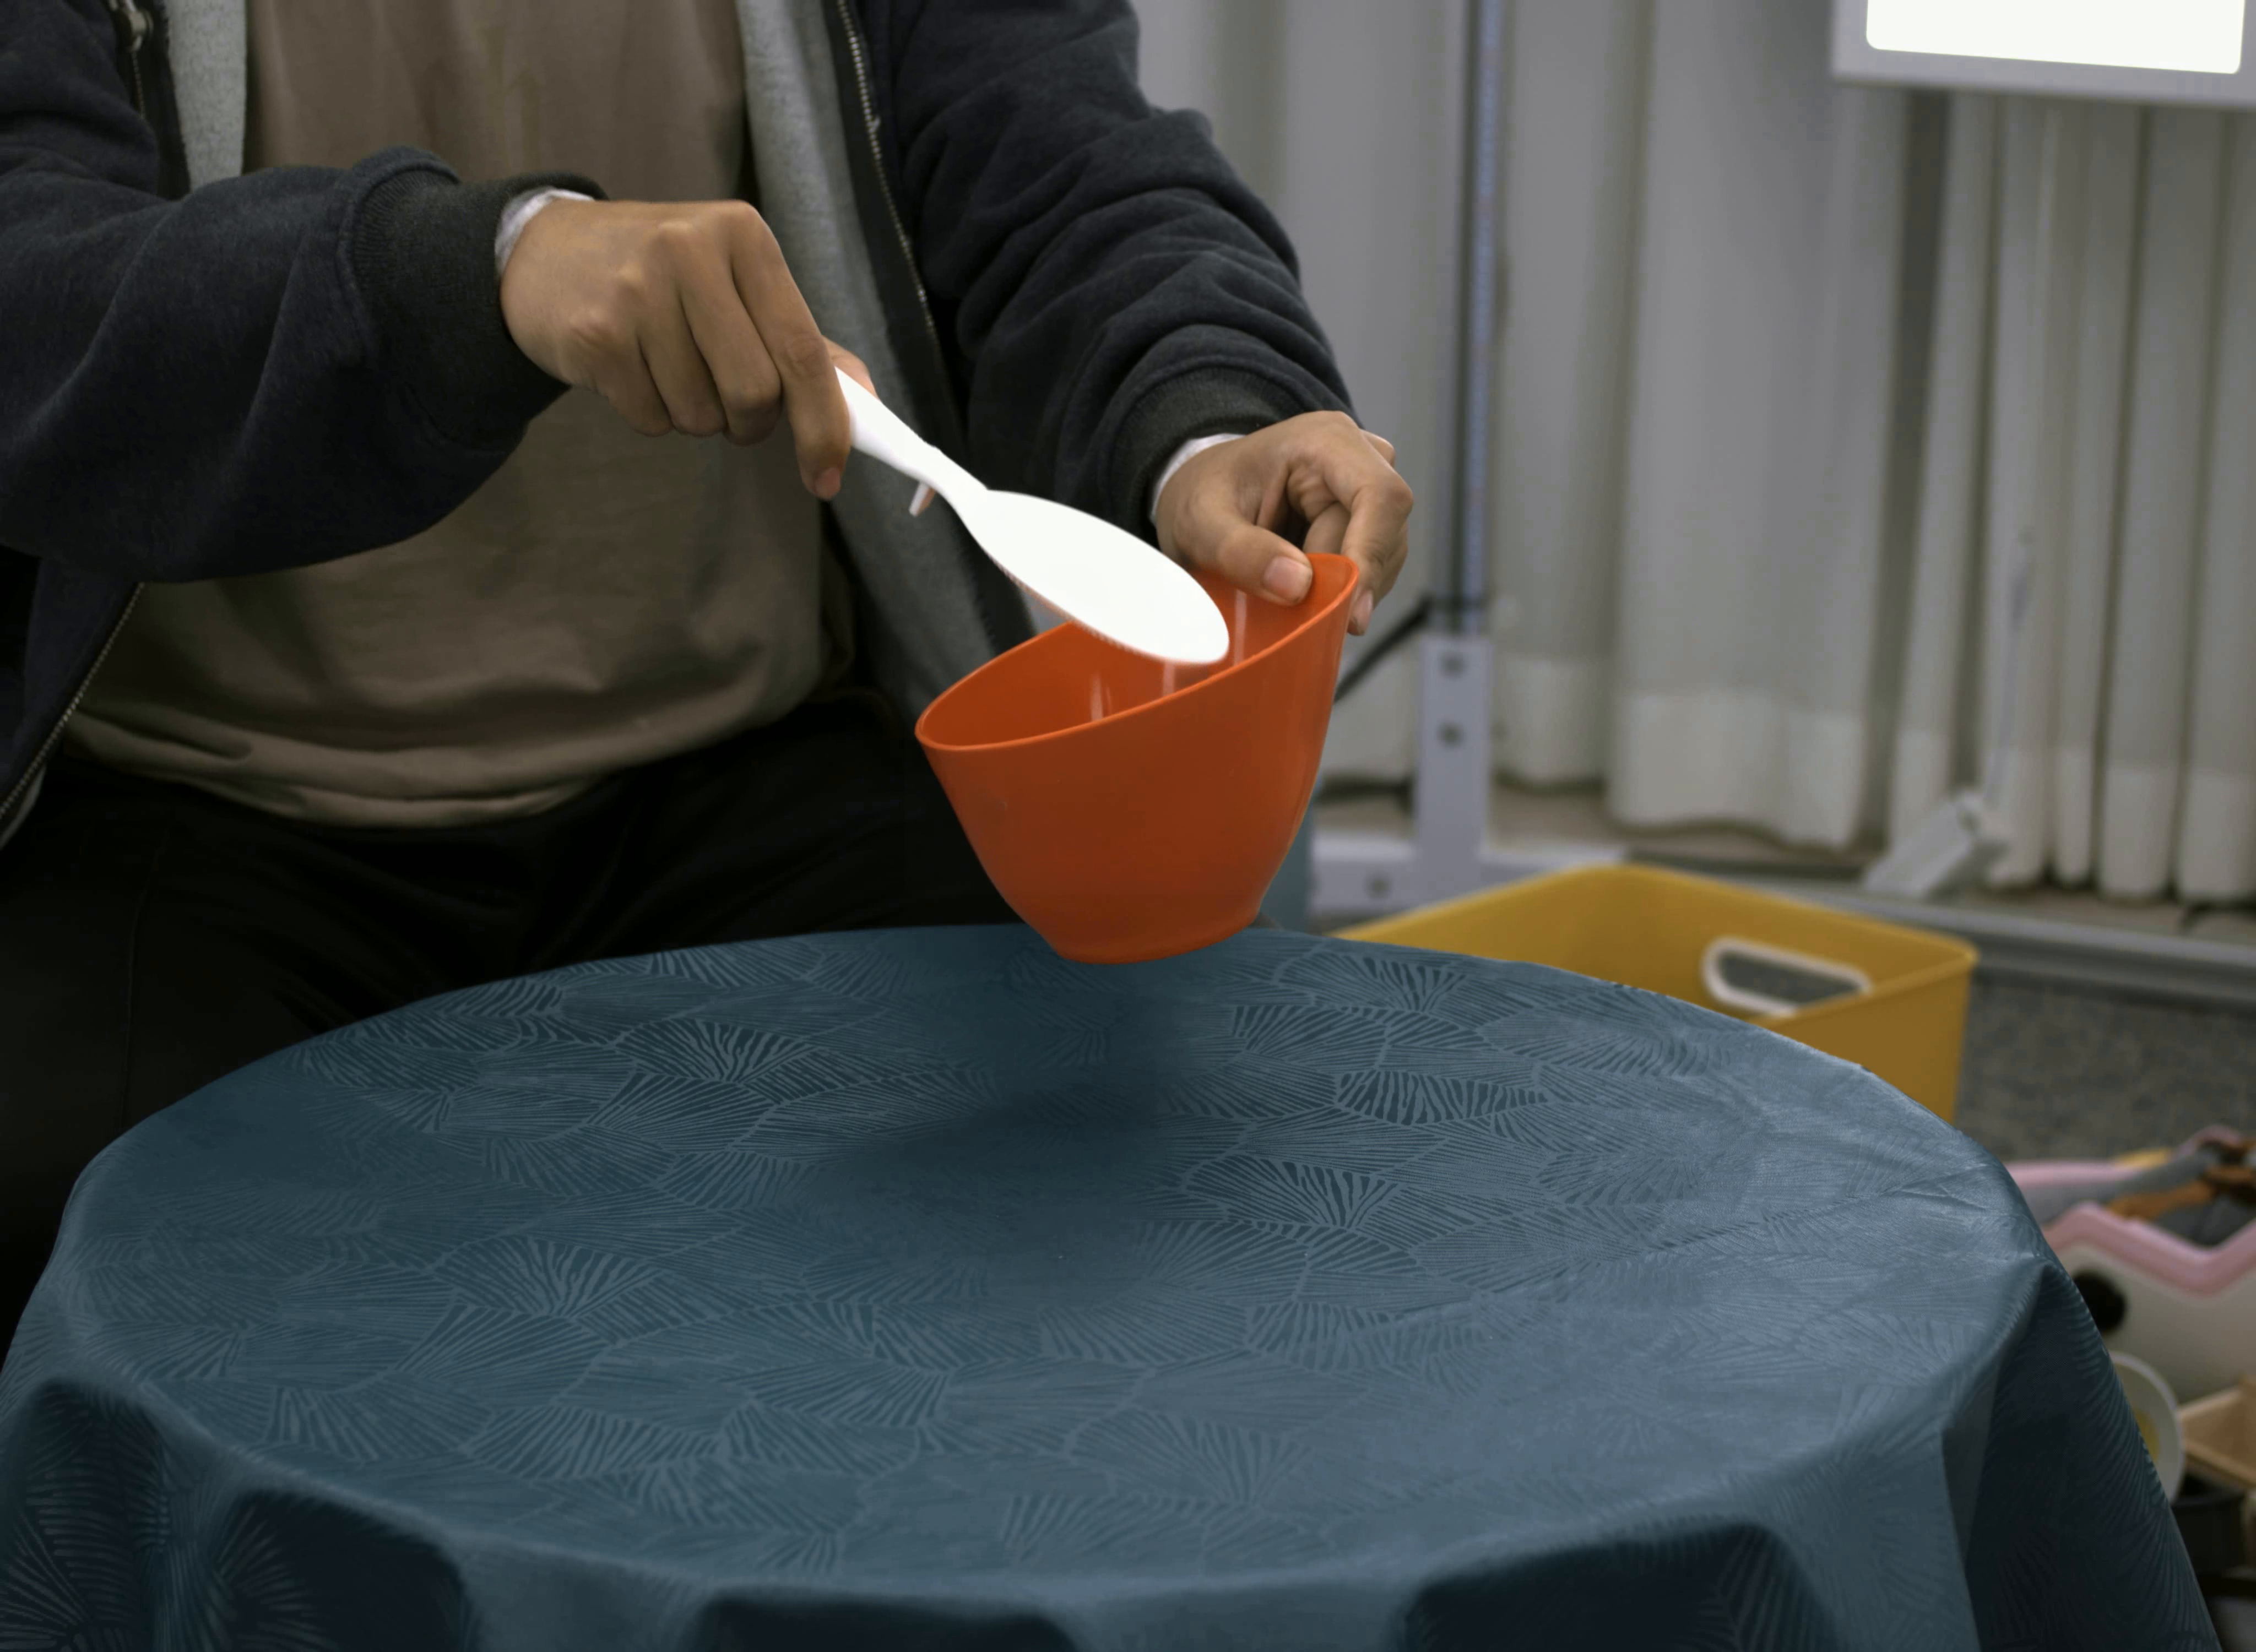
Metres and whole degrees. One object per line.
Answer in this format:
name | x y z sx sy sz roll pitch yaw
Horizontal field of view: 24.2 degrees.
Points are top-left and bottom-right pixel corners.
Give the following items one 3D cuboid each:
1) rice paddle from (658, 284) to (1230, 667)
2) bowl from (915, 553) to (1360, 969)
rice paddle | -0.055 -0.108 1.663 0.204 0.029 0.068 31 30 5
bowl | 0.011 -0.016 1.660 0.147 0.105 0.147 -11 17 4
